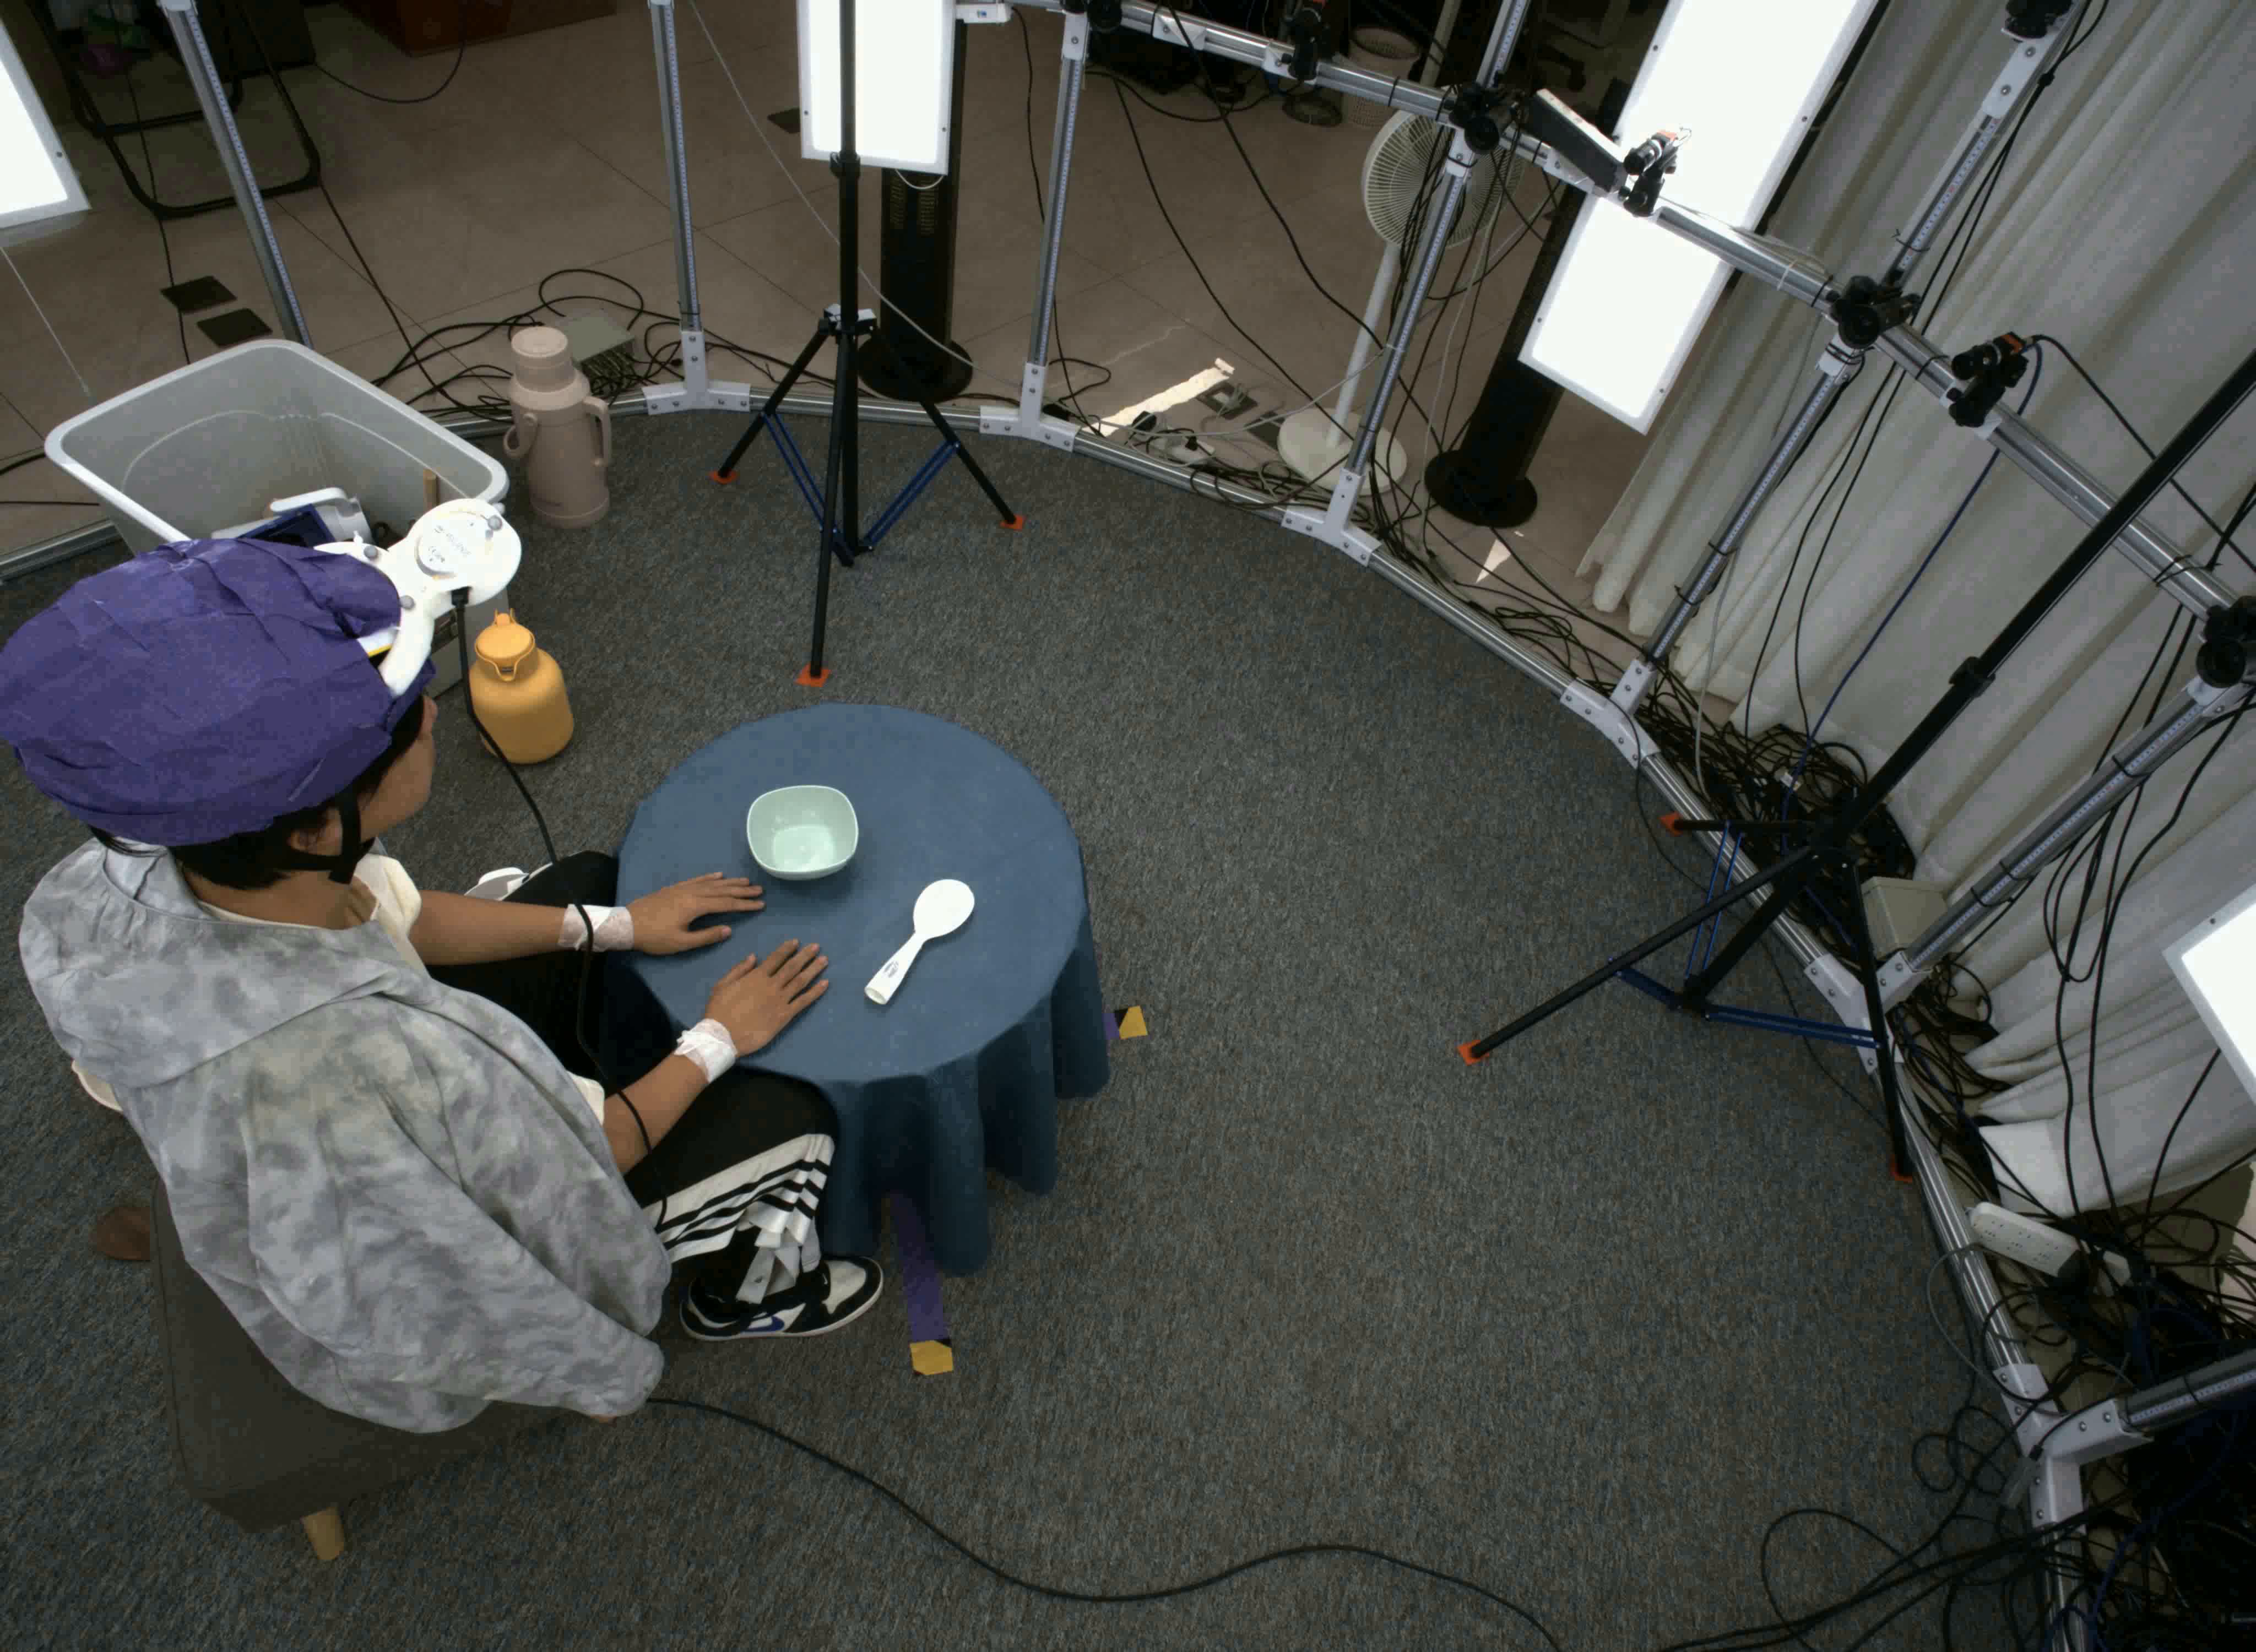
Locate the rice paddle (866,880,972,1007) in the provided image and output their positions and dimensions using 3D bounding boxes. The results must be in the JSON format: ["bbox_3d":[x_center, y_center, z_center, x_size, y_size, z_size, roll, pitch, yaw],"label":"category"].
[{"bbox_3d":[-0.263,0.139,1.643,0.068,0.030,0.204,28,53,6],"label":"rice paddle"}]

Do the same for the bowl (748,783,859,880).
[{"bbox_3d":[-0.419,0.016,1.676,0.151,0.059,0.149,9,53,-11],"label":"bowl"}]
